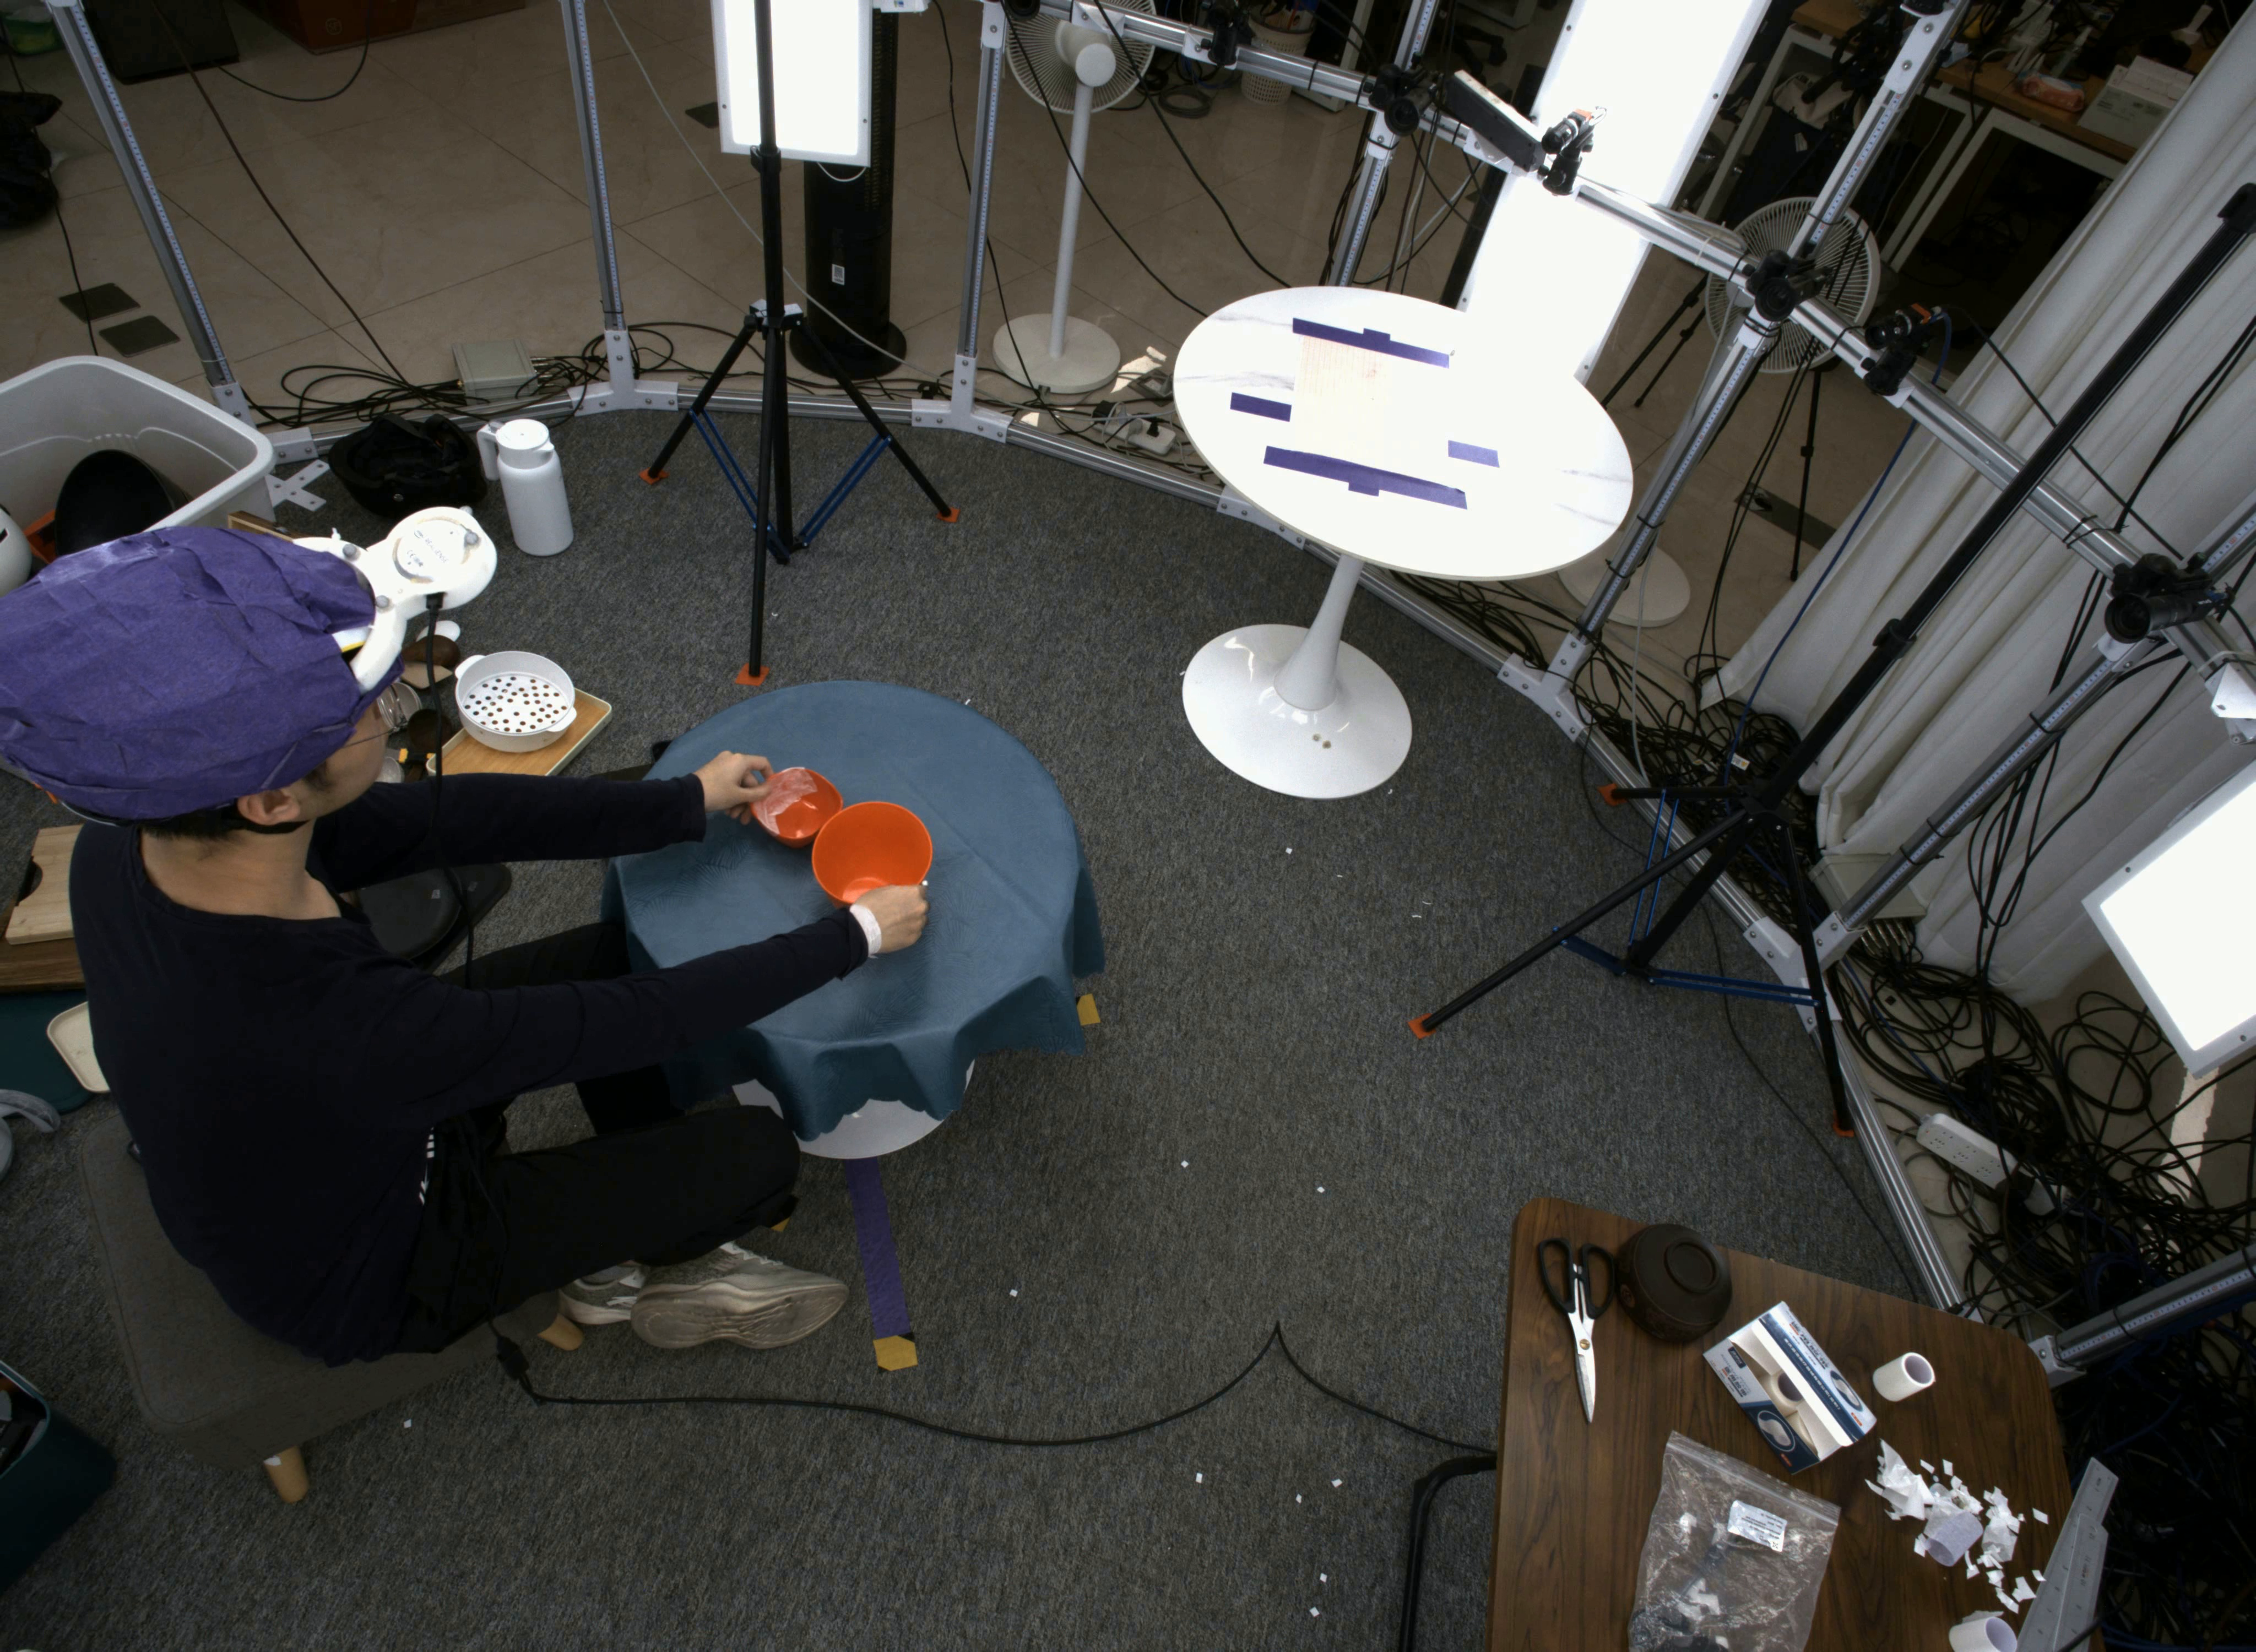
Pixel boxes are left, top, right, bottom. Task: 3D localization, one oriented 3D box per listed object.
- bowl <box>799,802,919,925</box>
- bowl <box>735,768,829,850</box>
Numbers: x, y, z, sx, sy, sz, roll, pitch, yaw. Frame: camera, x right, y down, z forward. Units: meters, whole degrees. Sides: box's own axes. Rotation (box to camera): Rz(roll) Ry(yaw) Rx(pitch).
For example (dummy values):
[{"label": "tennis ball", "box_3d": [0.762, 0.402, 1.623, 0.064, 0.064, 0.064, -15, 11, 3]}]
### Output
[{"label": "bowl", "box_3d": [-0.340, 0.058, 1.648, 0.147, 0.107, 0.145, 7, 52, -7]}, {"label": "bowl", "box_3d": [-0.455, -0.015, 1.704, 0.119, 0.052, 0.117, 9, 52, -10]}]
